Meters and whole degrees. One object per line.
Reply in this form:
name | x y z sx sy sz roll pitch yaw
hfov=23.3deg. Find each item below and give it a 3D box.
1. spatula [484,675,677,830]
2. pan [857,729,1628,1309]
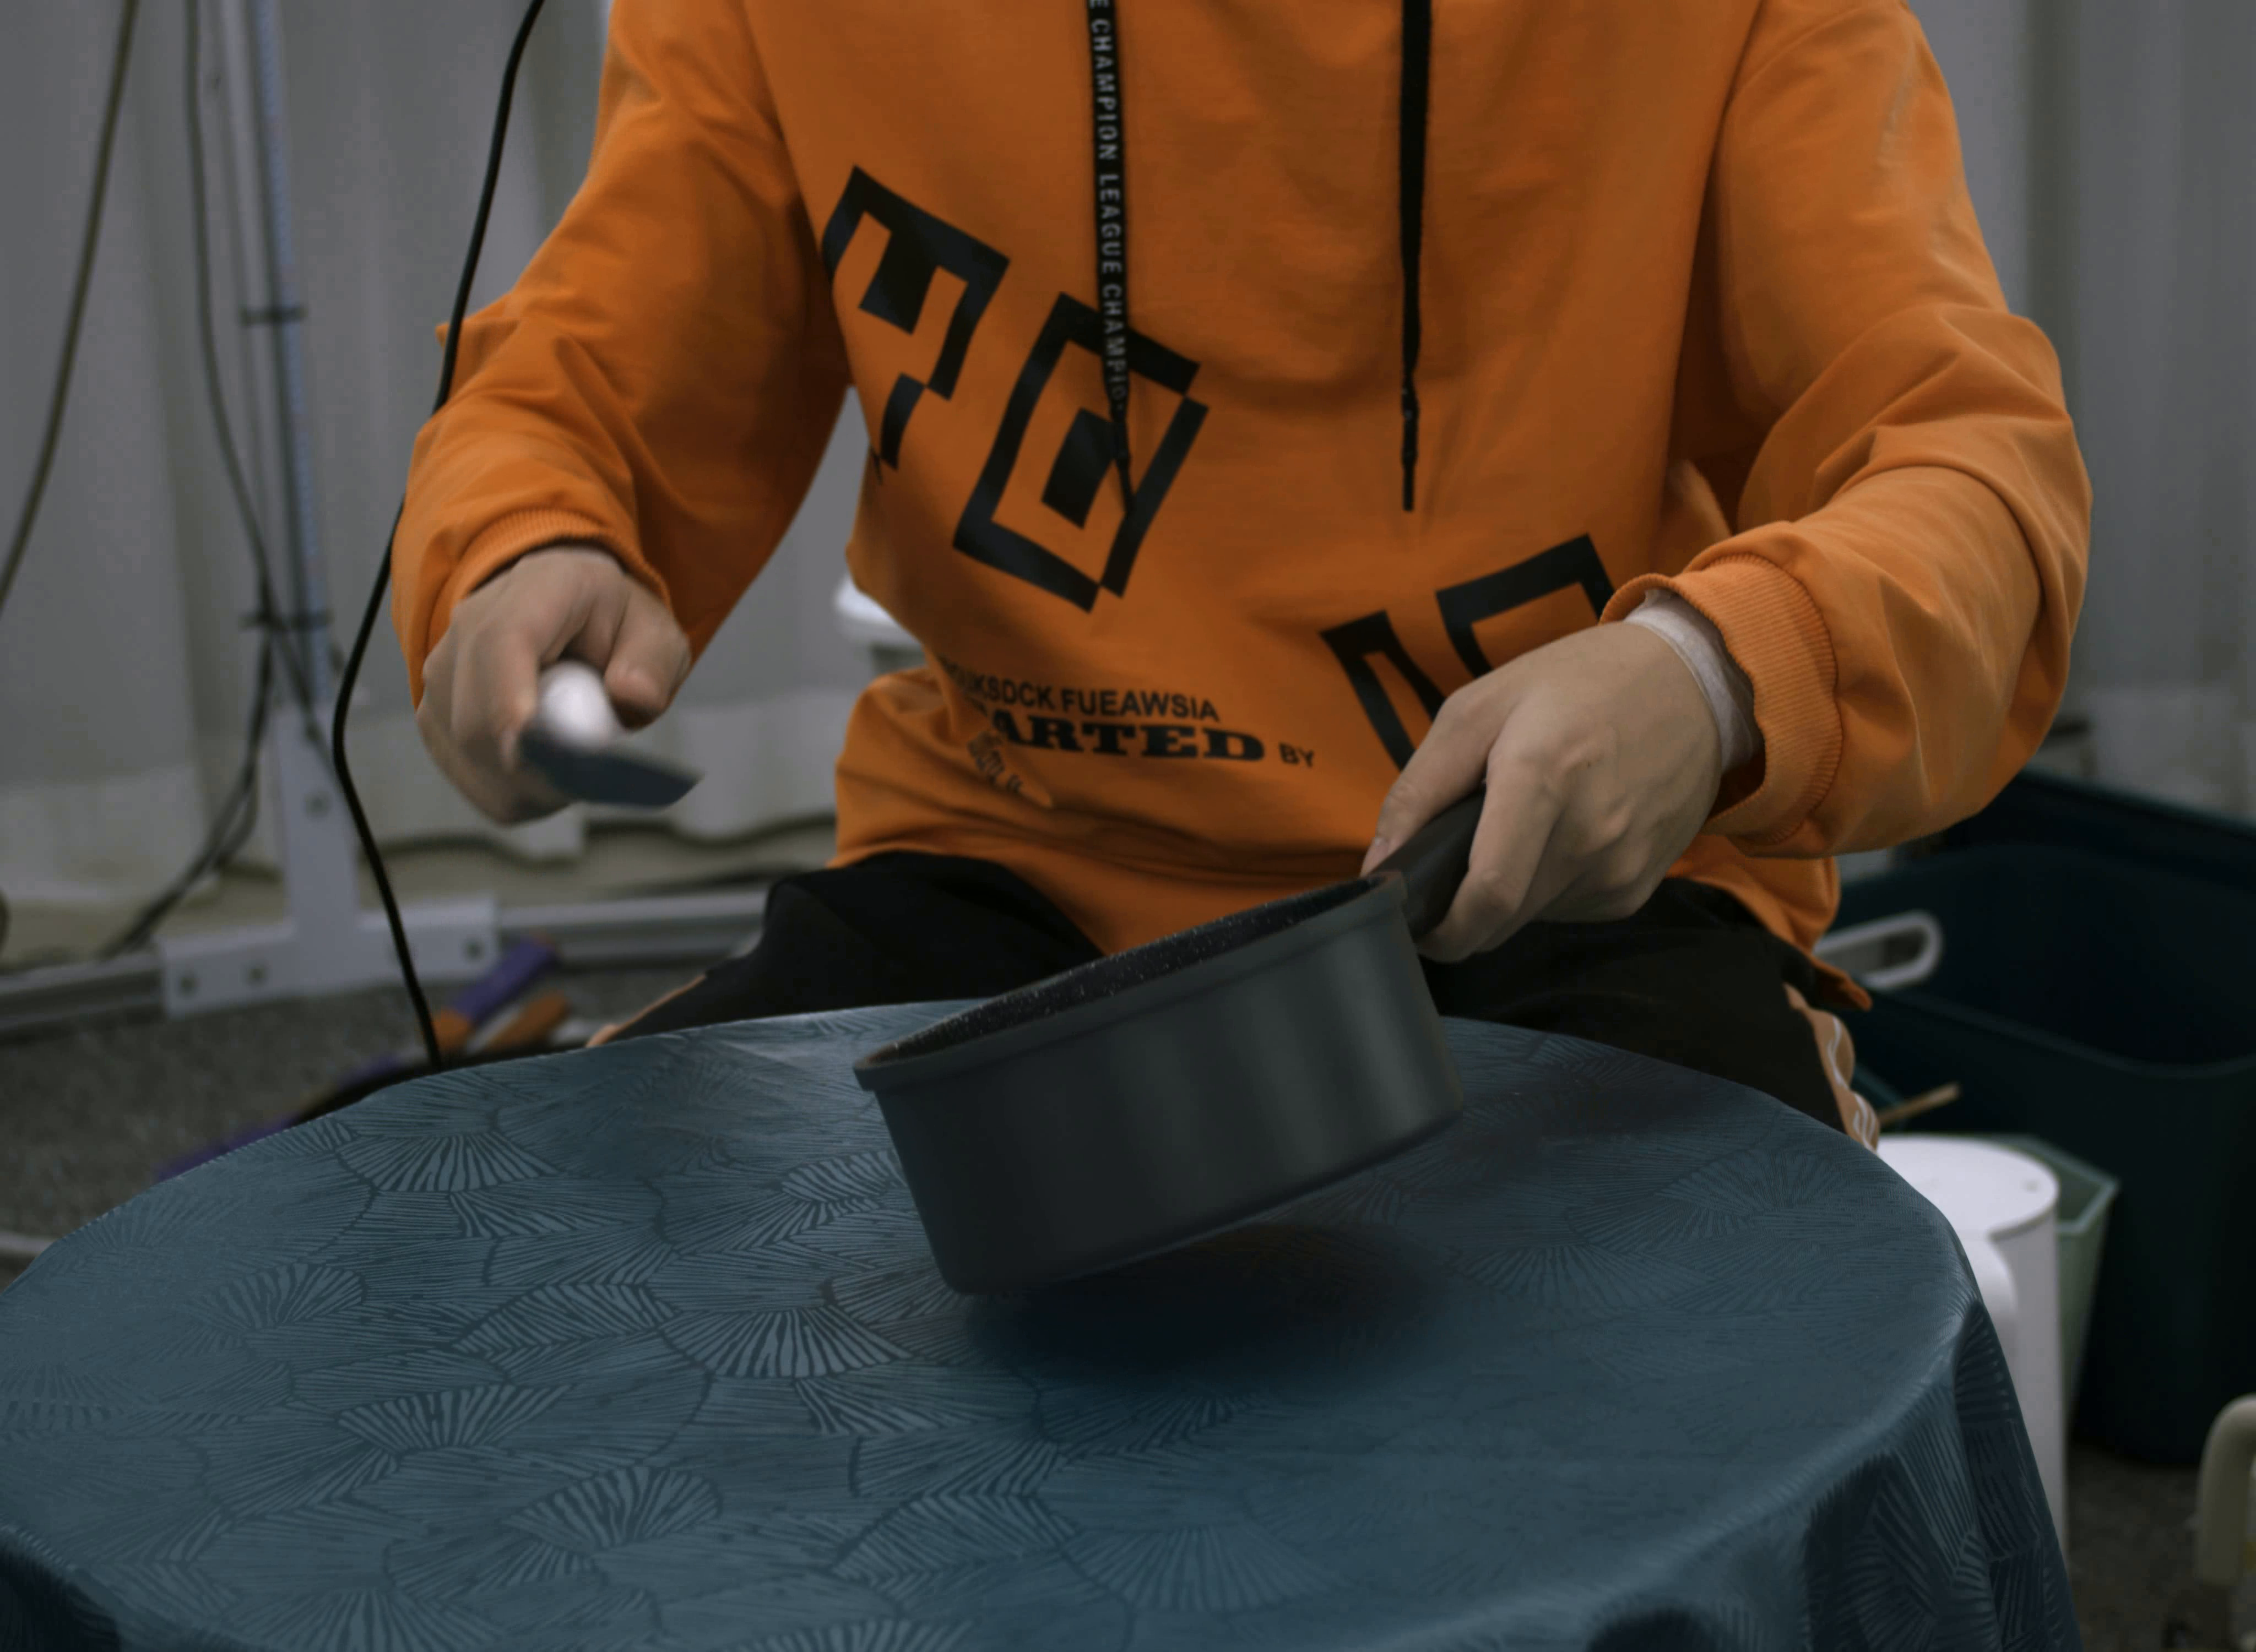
spatula | -0.172 -0.021 1.671 0.058 0.032 0.288 24 2 -9
pan | 0.060 0.055 1.658 0.172 0.086 0.329 -16 5 41
